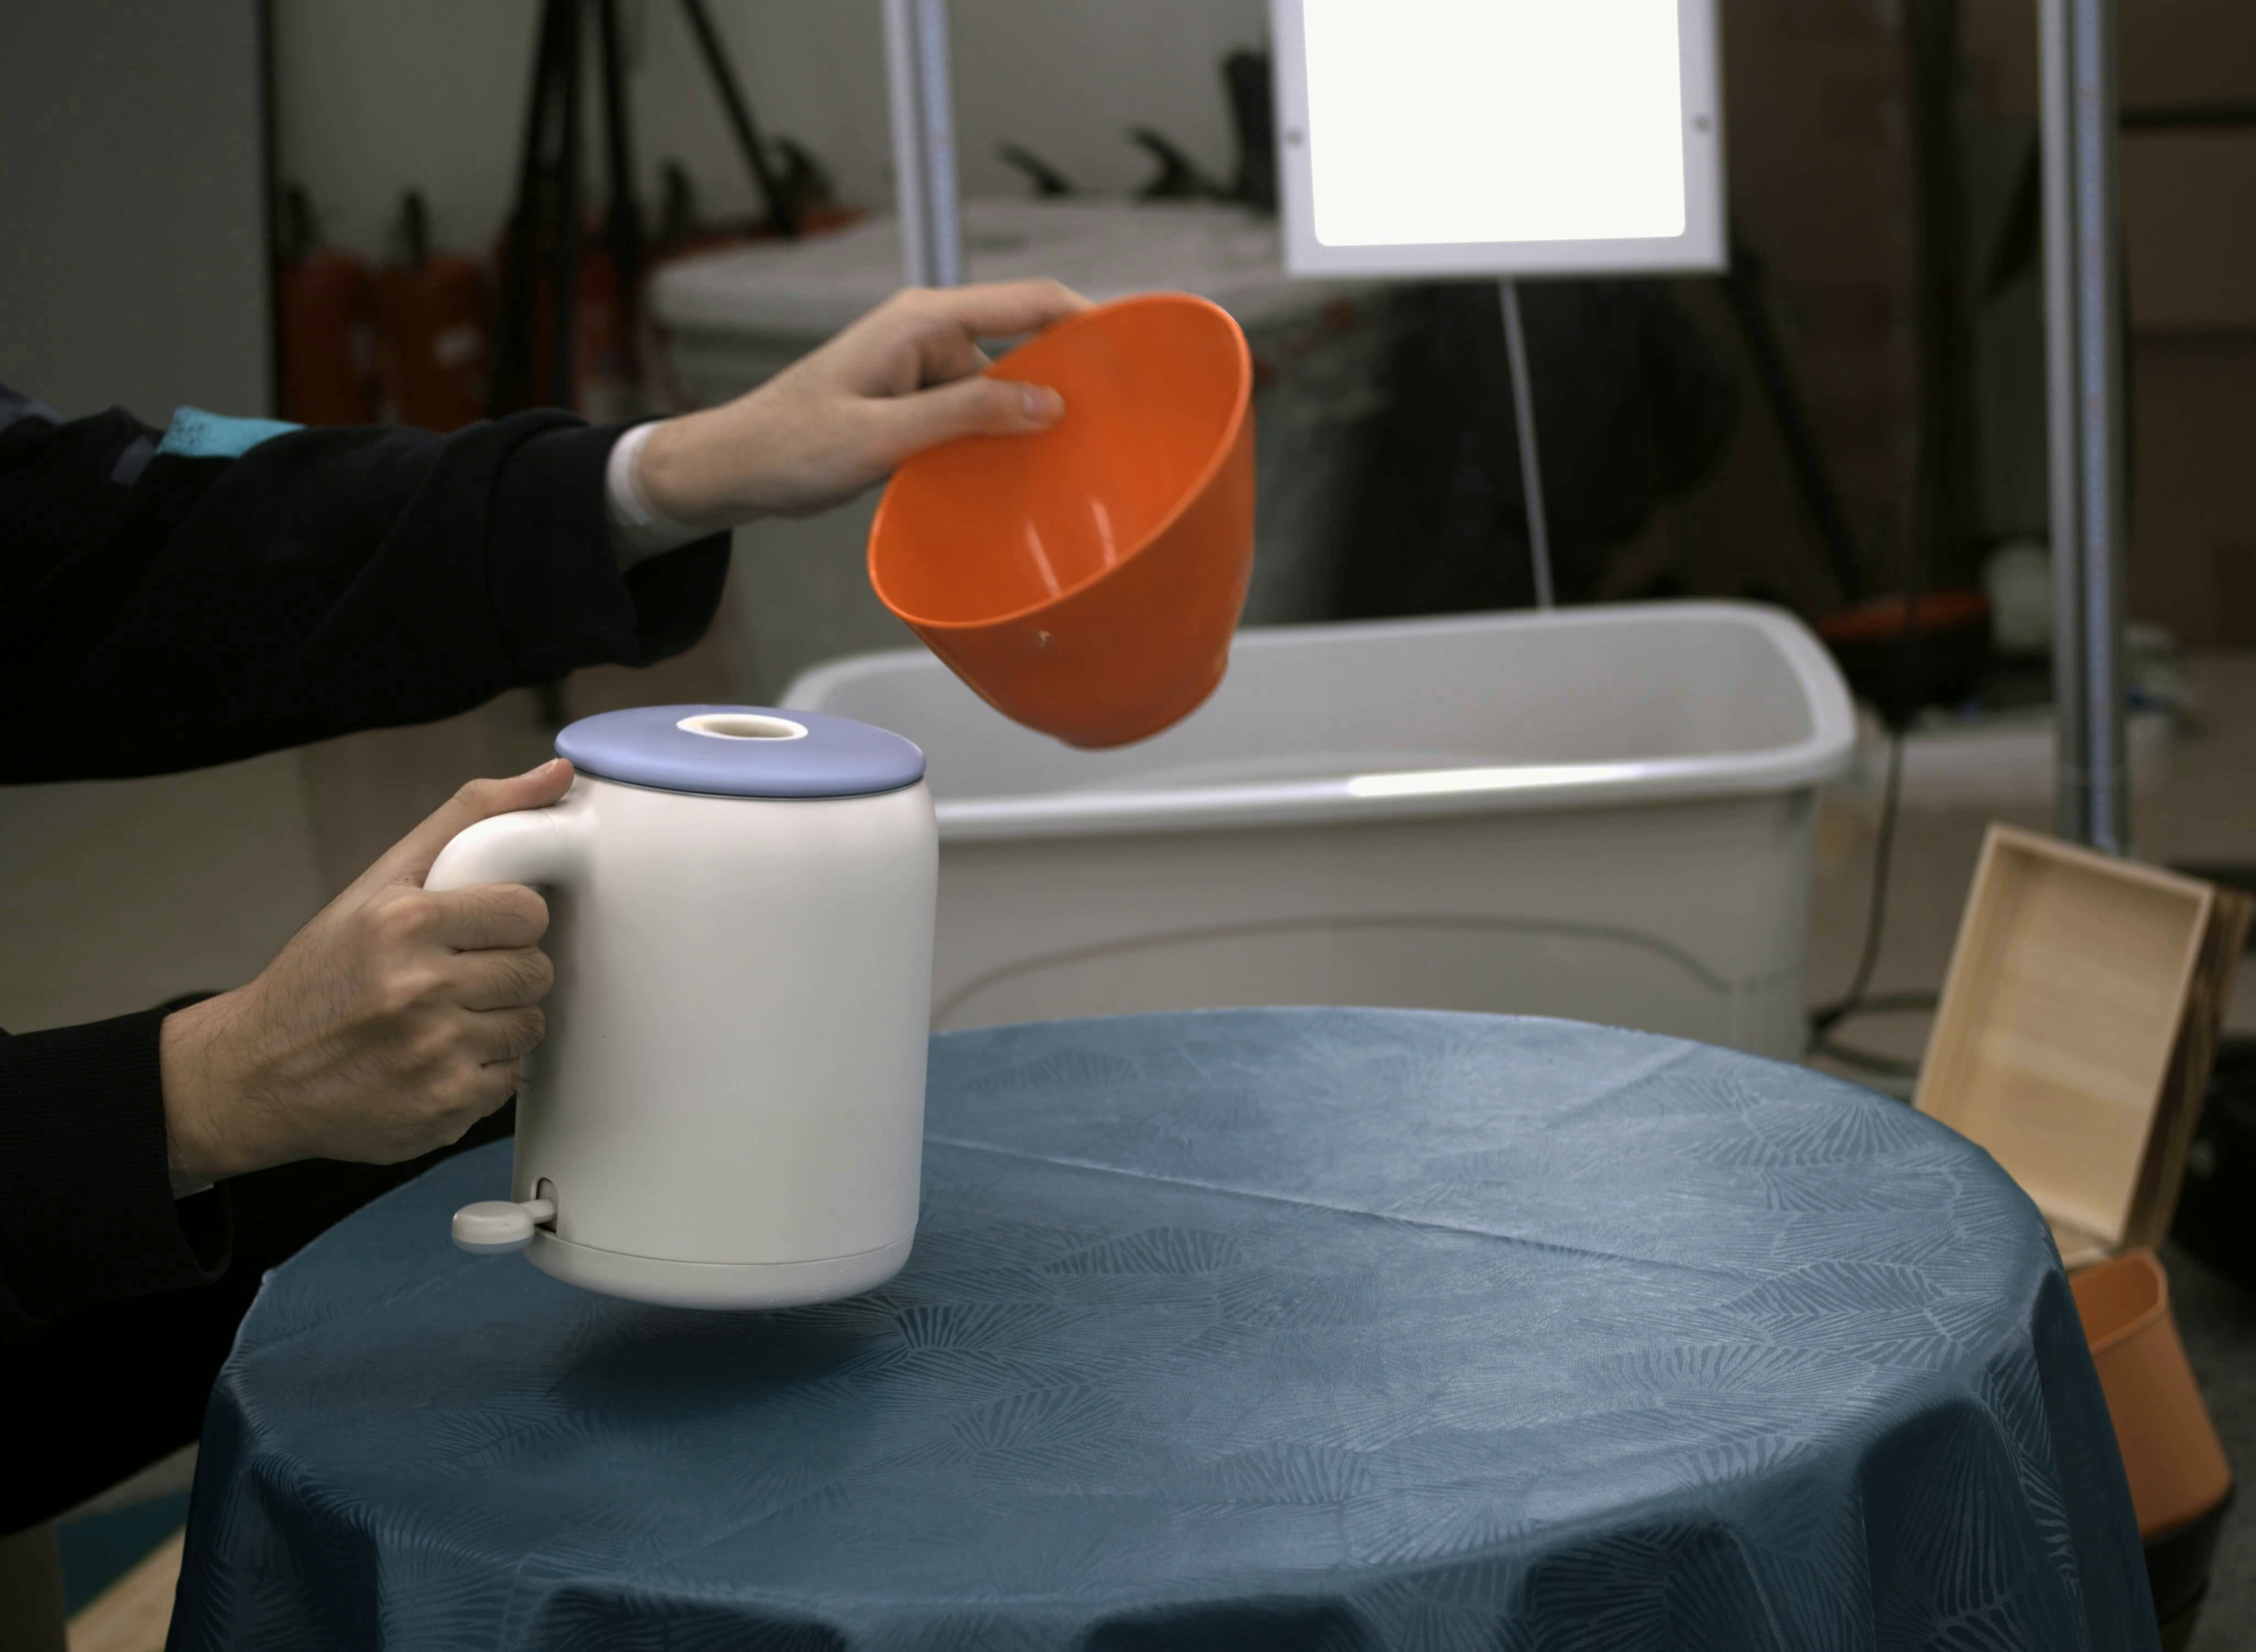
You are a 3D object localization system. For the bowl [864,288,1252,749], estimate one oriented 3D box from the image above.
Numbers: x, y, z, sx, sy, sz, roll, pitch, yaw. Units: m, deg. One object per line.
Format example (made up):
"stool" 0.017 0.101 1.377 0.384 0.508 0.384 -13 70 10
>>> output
"bowl" -0.008 -0.092 1.827 0.149 0.104 0.147 -22 33 14

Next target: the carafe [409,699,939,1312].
"carafe" -0.146 0.059 1.747 0.186 0.183 0.135 -9 15 -37
